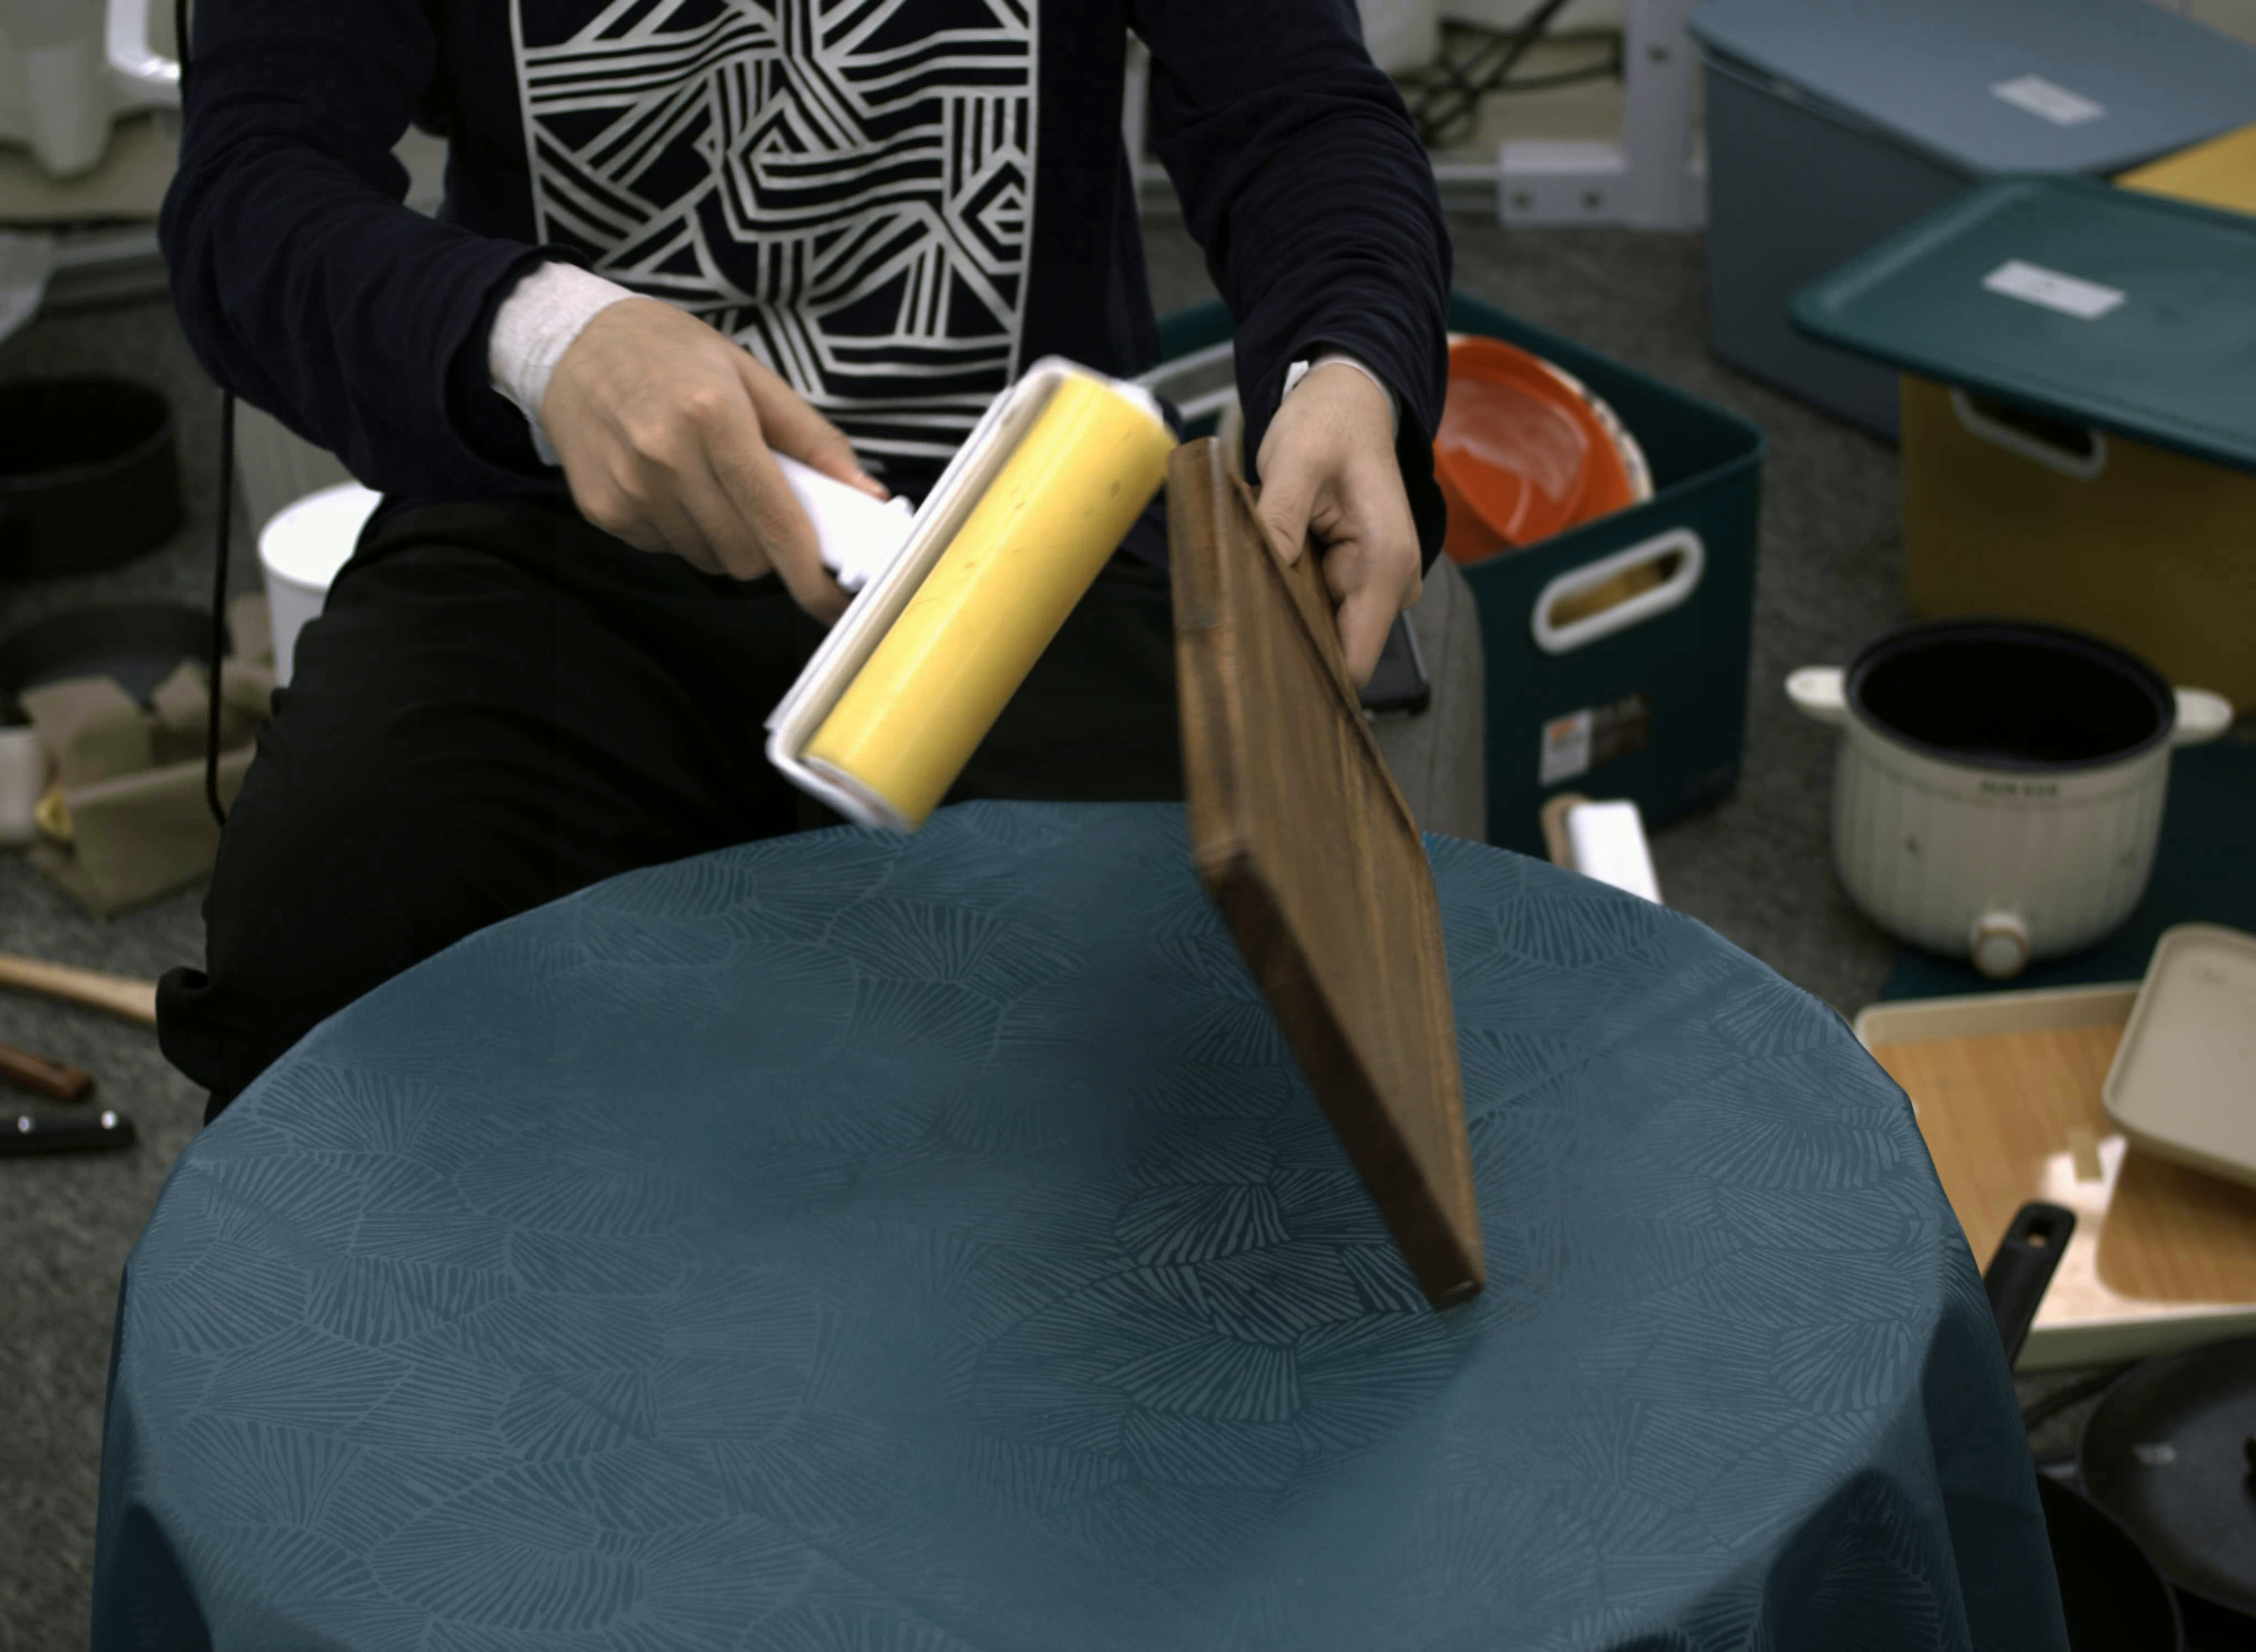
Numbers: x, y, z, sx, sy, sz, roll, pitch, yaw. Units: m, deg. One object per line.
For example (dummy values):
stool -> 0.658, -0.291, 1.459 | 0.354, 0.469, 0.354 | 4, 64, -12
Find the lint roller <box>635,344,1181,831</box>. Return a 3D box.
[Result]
lint roller -> -0.099, -0.106, 1.926 | 0.192, 0.051, 0.176 | 26, 77, 26

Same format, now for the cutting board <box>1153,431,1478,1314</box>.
cutting board -> 0.058, -0.016, 1.867 | 0.023, 0.199, 0.358 | -22, 31, 12
